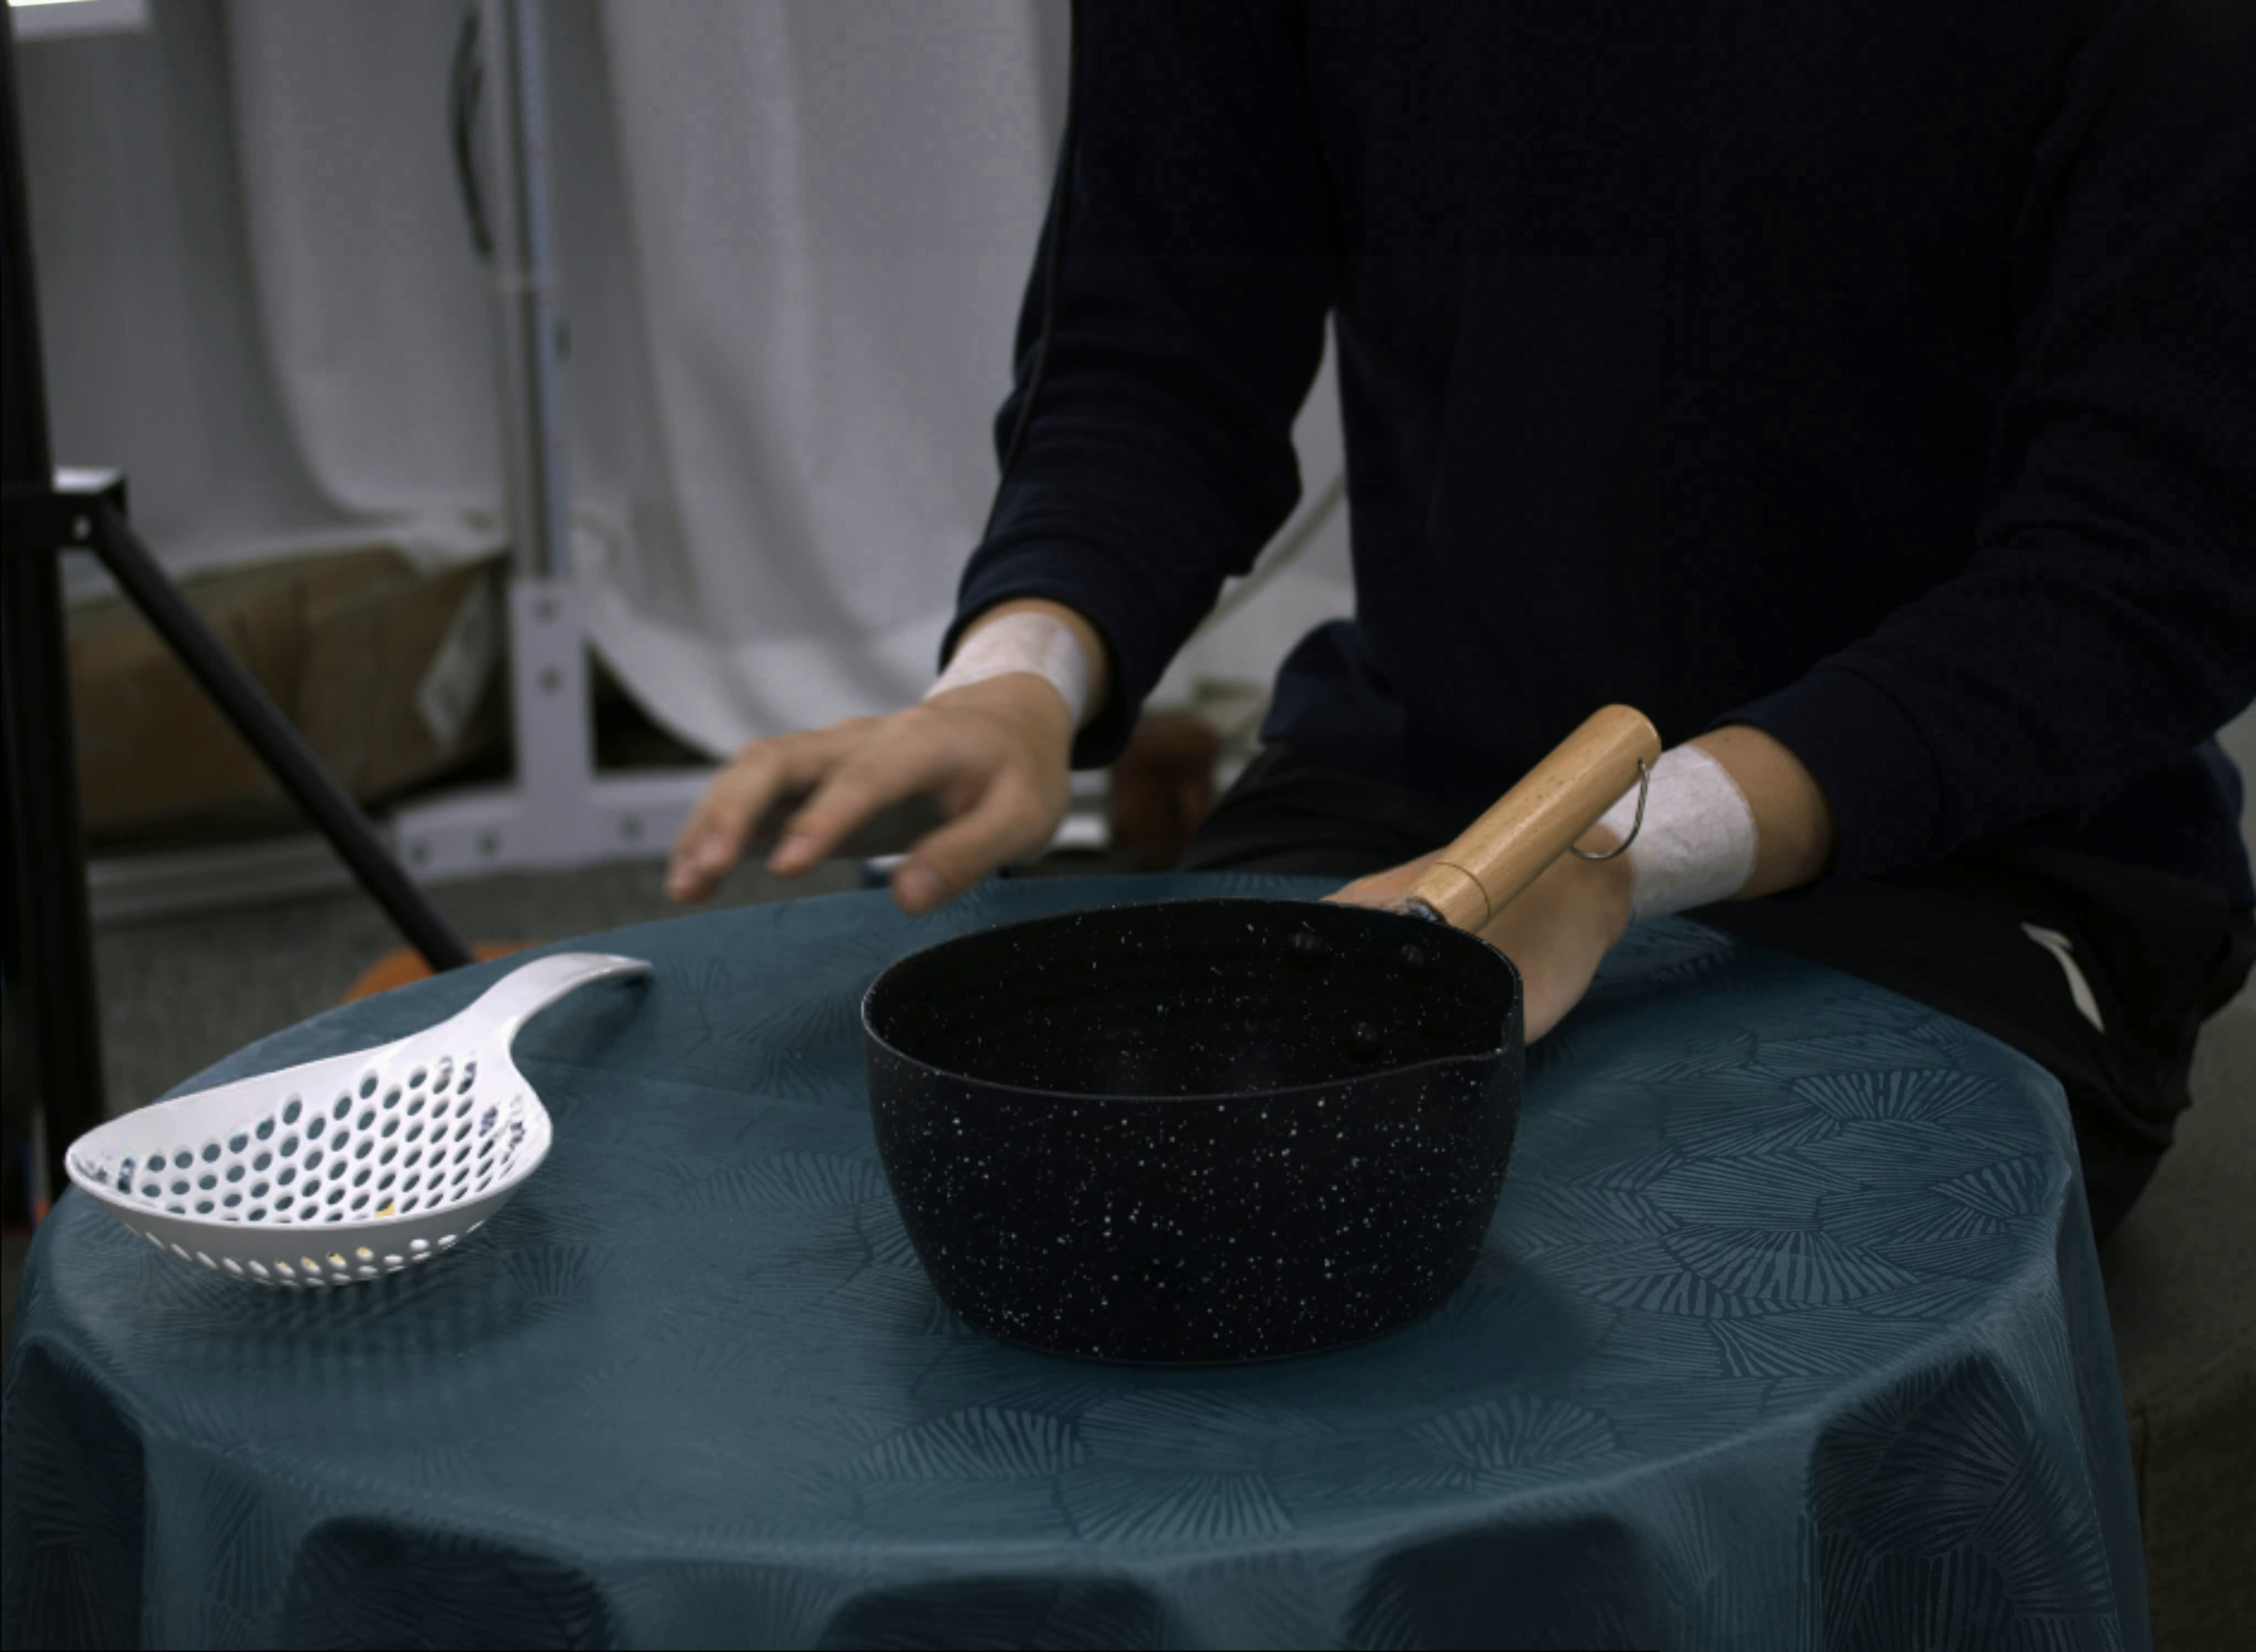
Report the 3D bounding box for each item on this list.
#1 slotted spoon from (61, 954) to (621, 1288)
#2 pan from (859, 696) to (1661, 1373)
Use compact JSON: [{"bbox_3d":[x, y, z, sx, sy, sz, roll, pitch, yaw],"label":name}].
[{"bbox_3d":[-0.207,0.076,1.625,0.138,0.050,0.346,2,18,13],"label":"slotted spoon"},{"bbox_3d":[0.062,0.055,1.536,0.211,0.108,0.336,7,20,34],"label":"pan"}]
